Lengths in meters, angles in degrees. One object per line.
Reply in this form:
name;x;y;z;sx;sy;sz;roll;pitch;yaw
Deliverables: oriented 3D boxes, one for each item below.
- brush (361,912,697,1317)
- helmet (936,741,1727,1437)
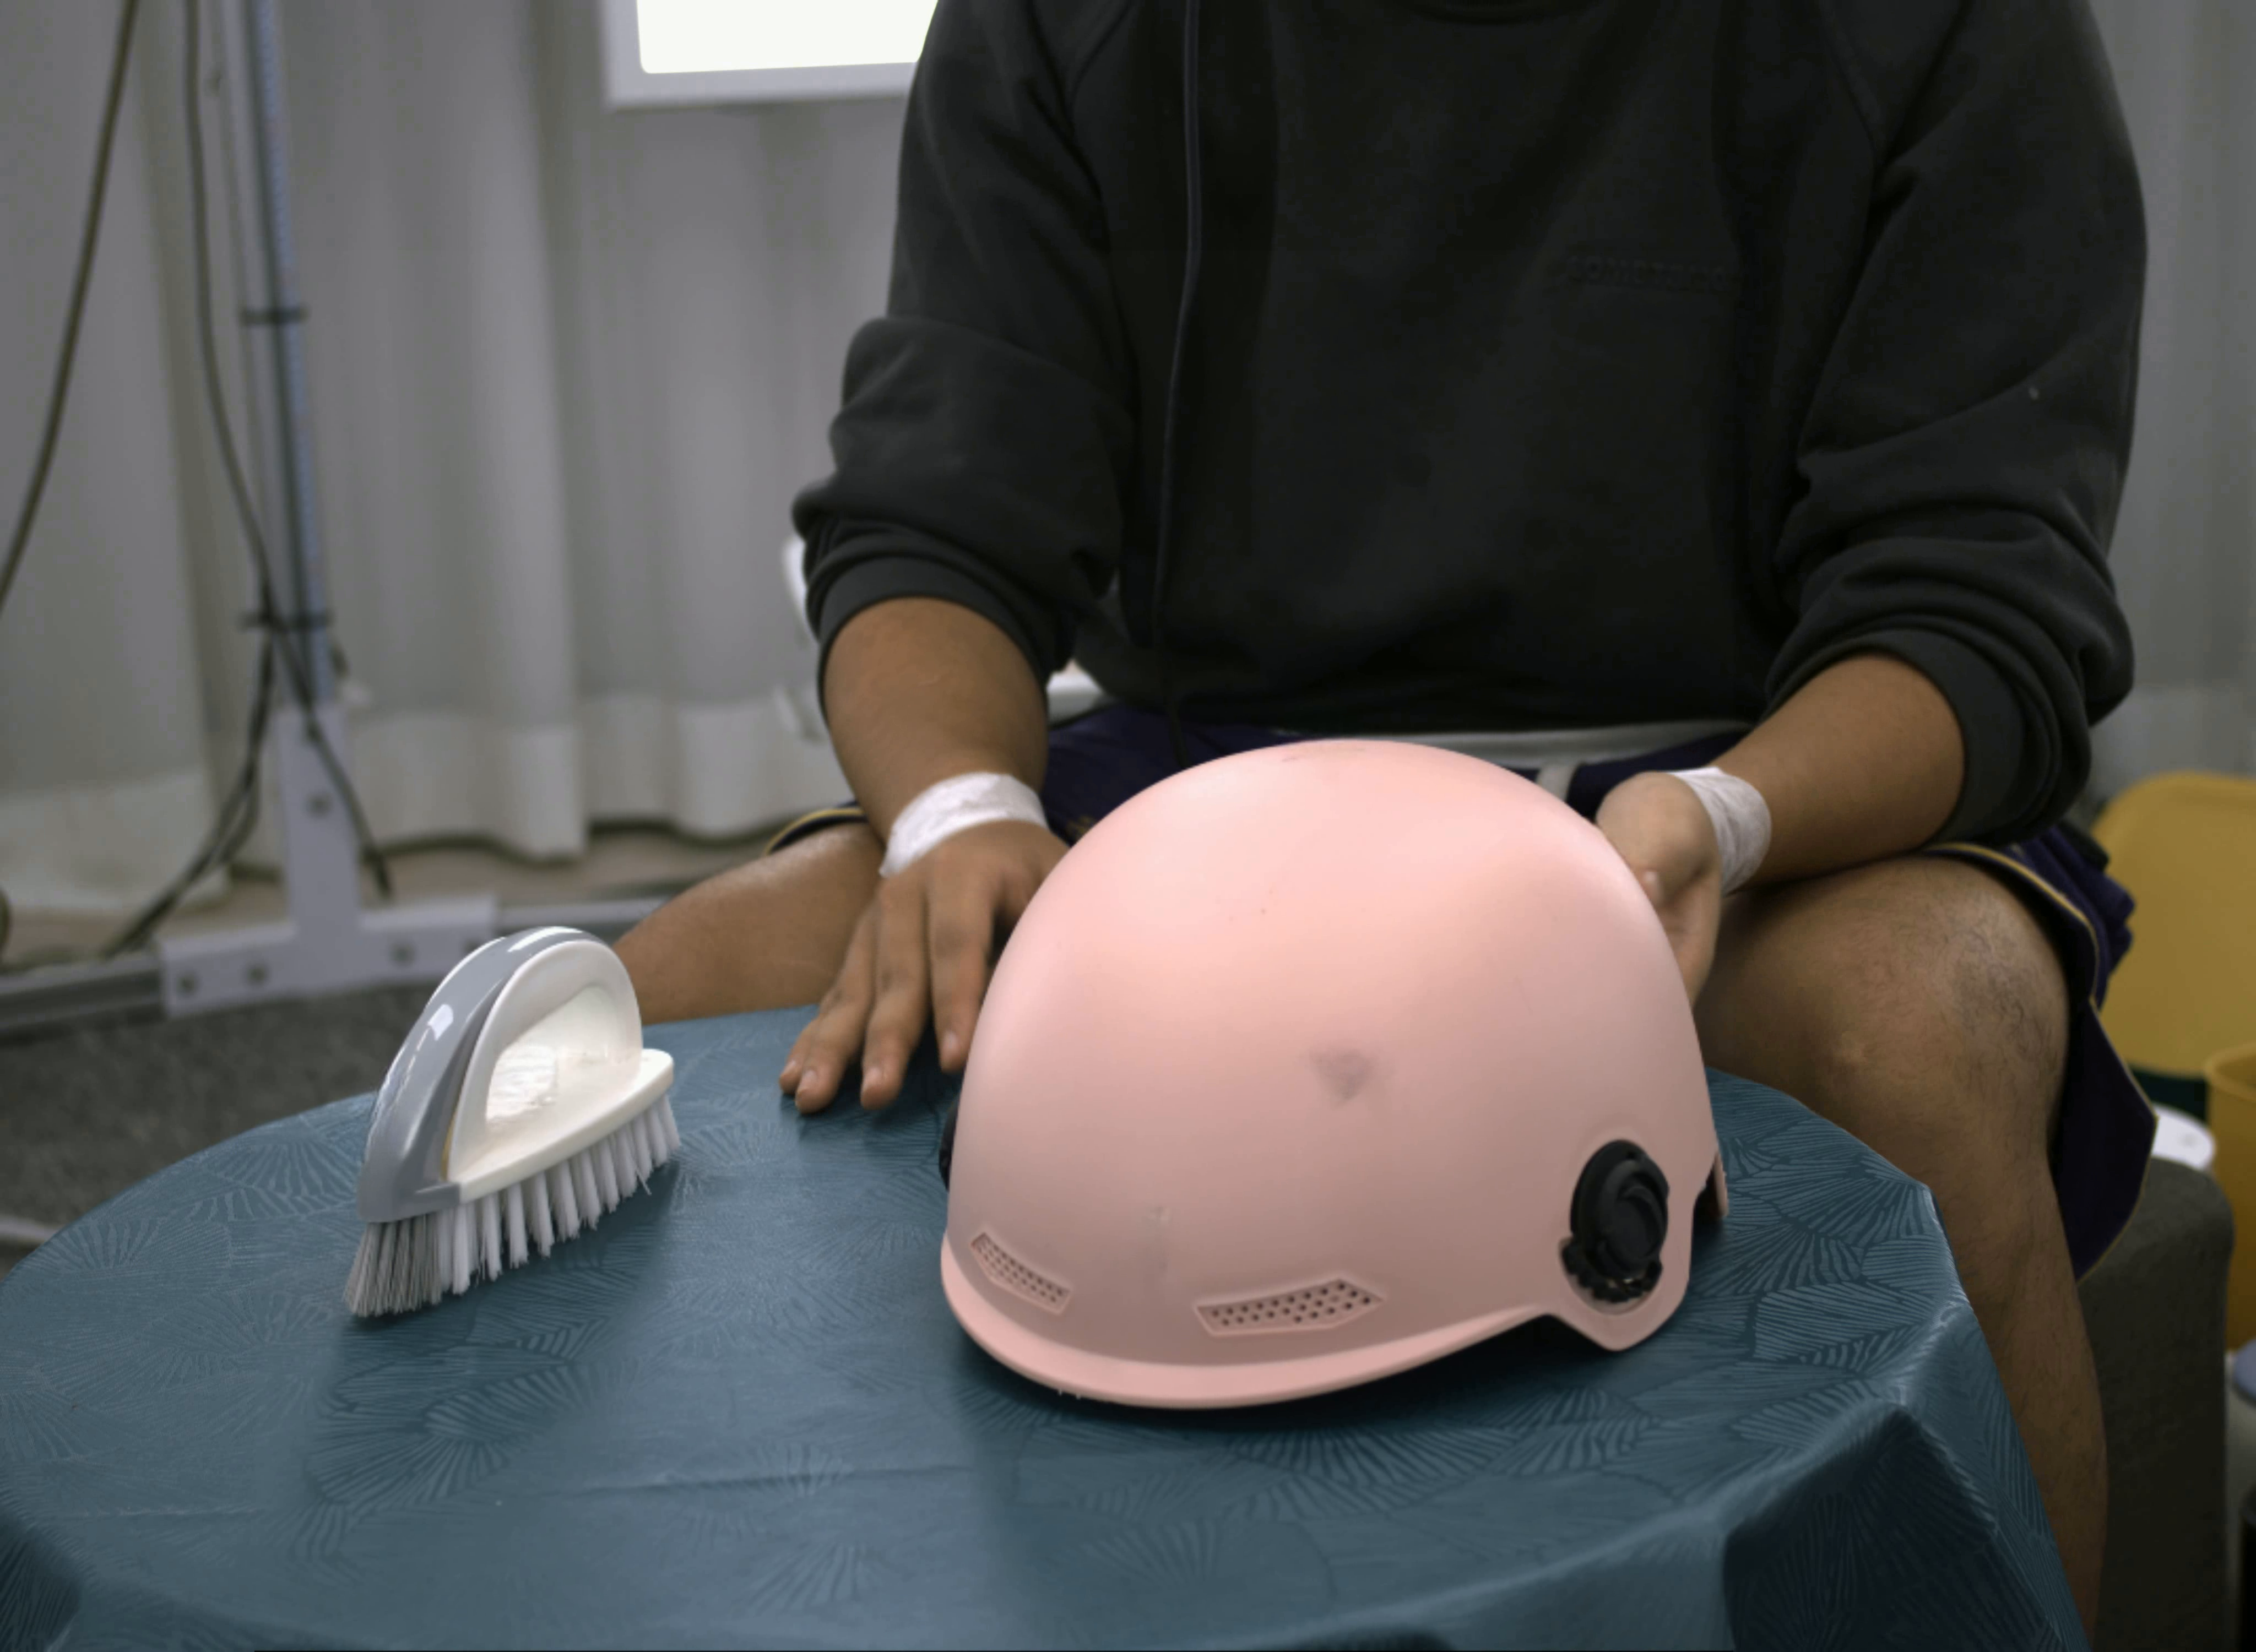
brush;-0.194;0.084;1.694;0.061;0.094;0.176;1;17;21
helmet;0.056;0.063;1.610;0.234;0.158;0.267;5;20;28
